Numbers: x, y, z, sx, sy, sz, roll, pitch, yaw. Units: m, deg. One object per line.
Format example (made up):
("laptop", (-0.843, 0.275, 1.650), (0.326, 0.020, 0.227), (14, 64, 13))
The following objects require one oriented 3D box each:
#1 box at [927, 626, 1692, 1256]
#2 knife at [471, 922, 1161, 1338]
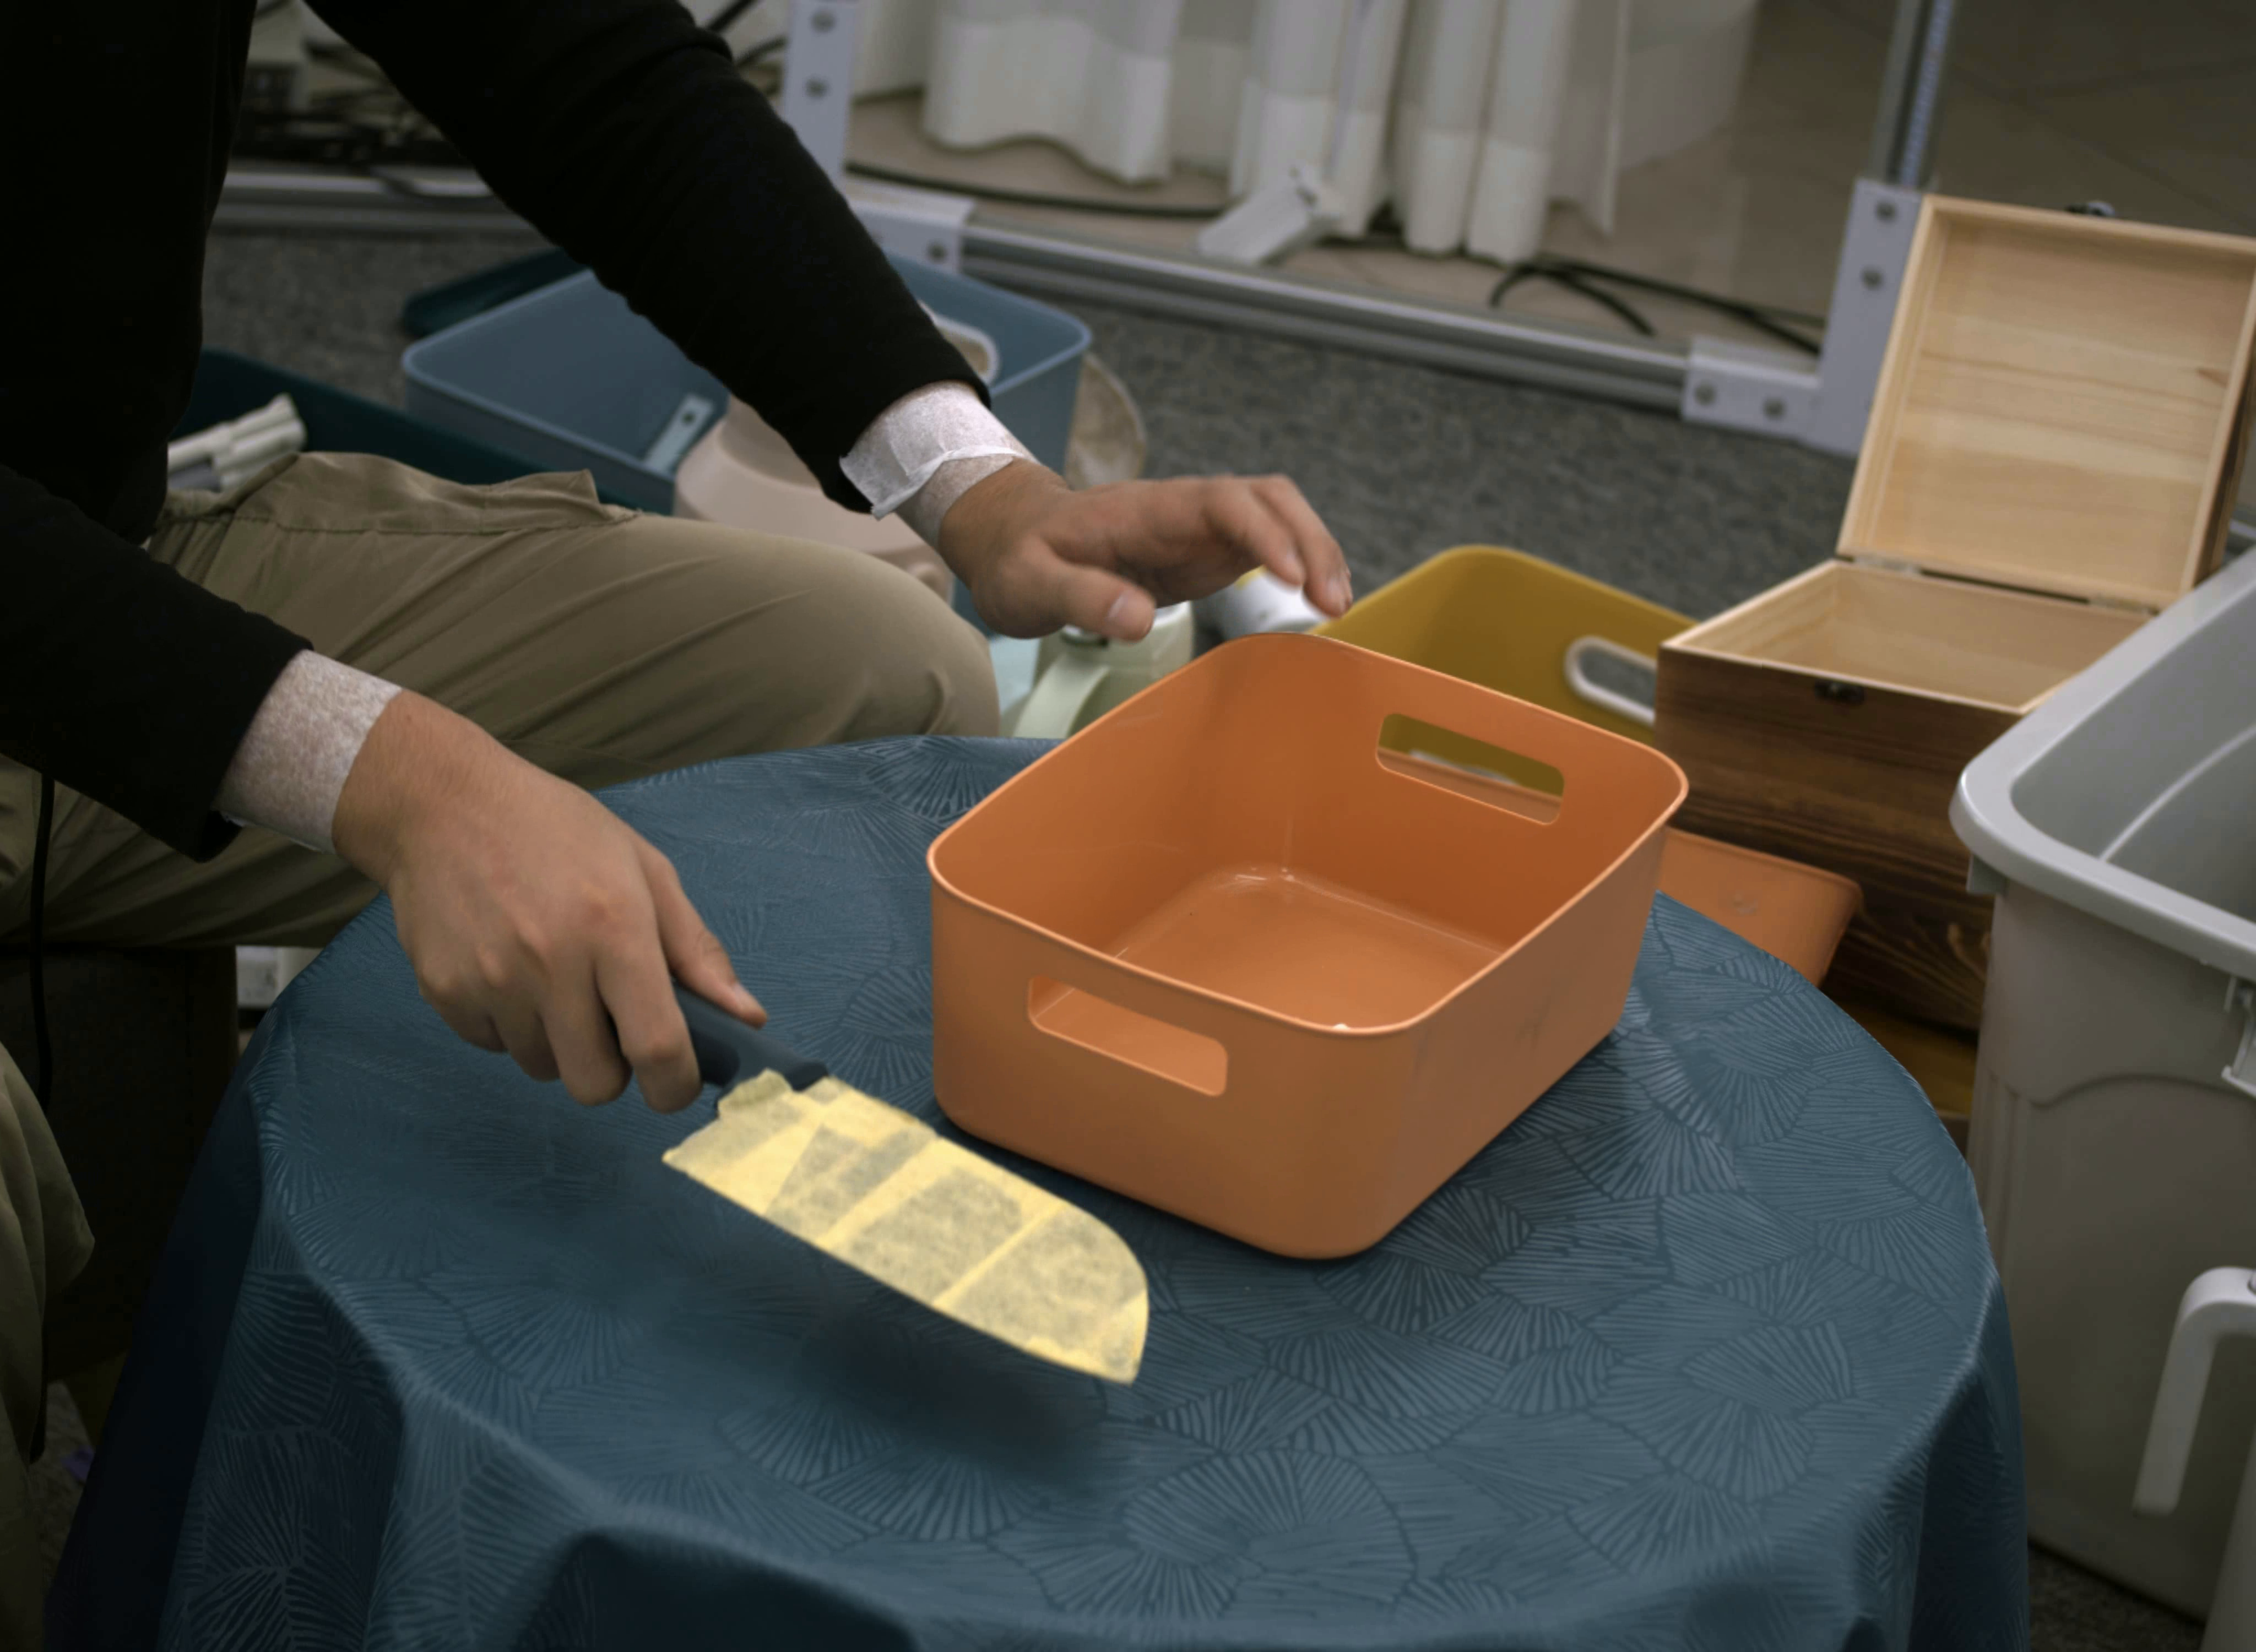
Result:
("box", (0.060, 0.038, 1.868), (0.200, 0.102, 0.273), (20, 30, 24))
("knife", (-0.107, 0.098, 1.705), (0.291, 0.027, 0.081), (26, 34, 28))
